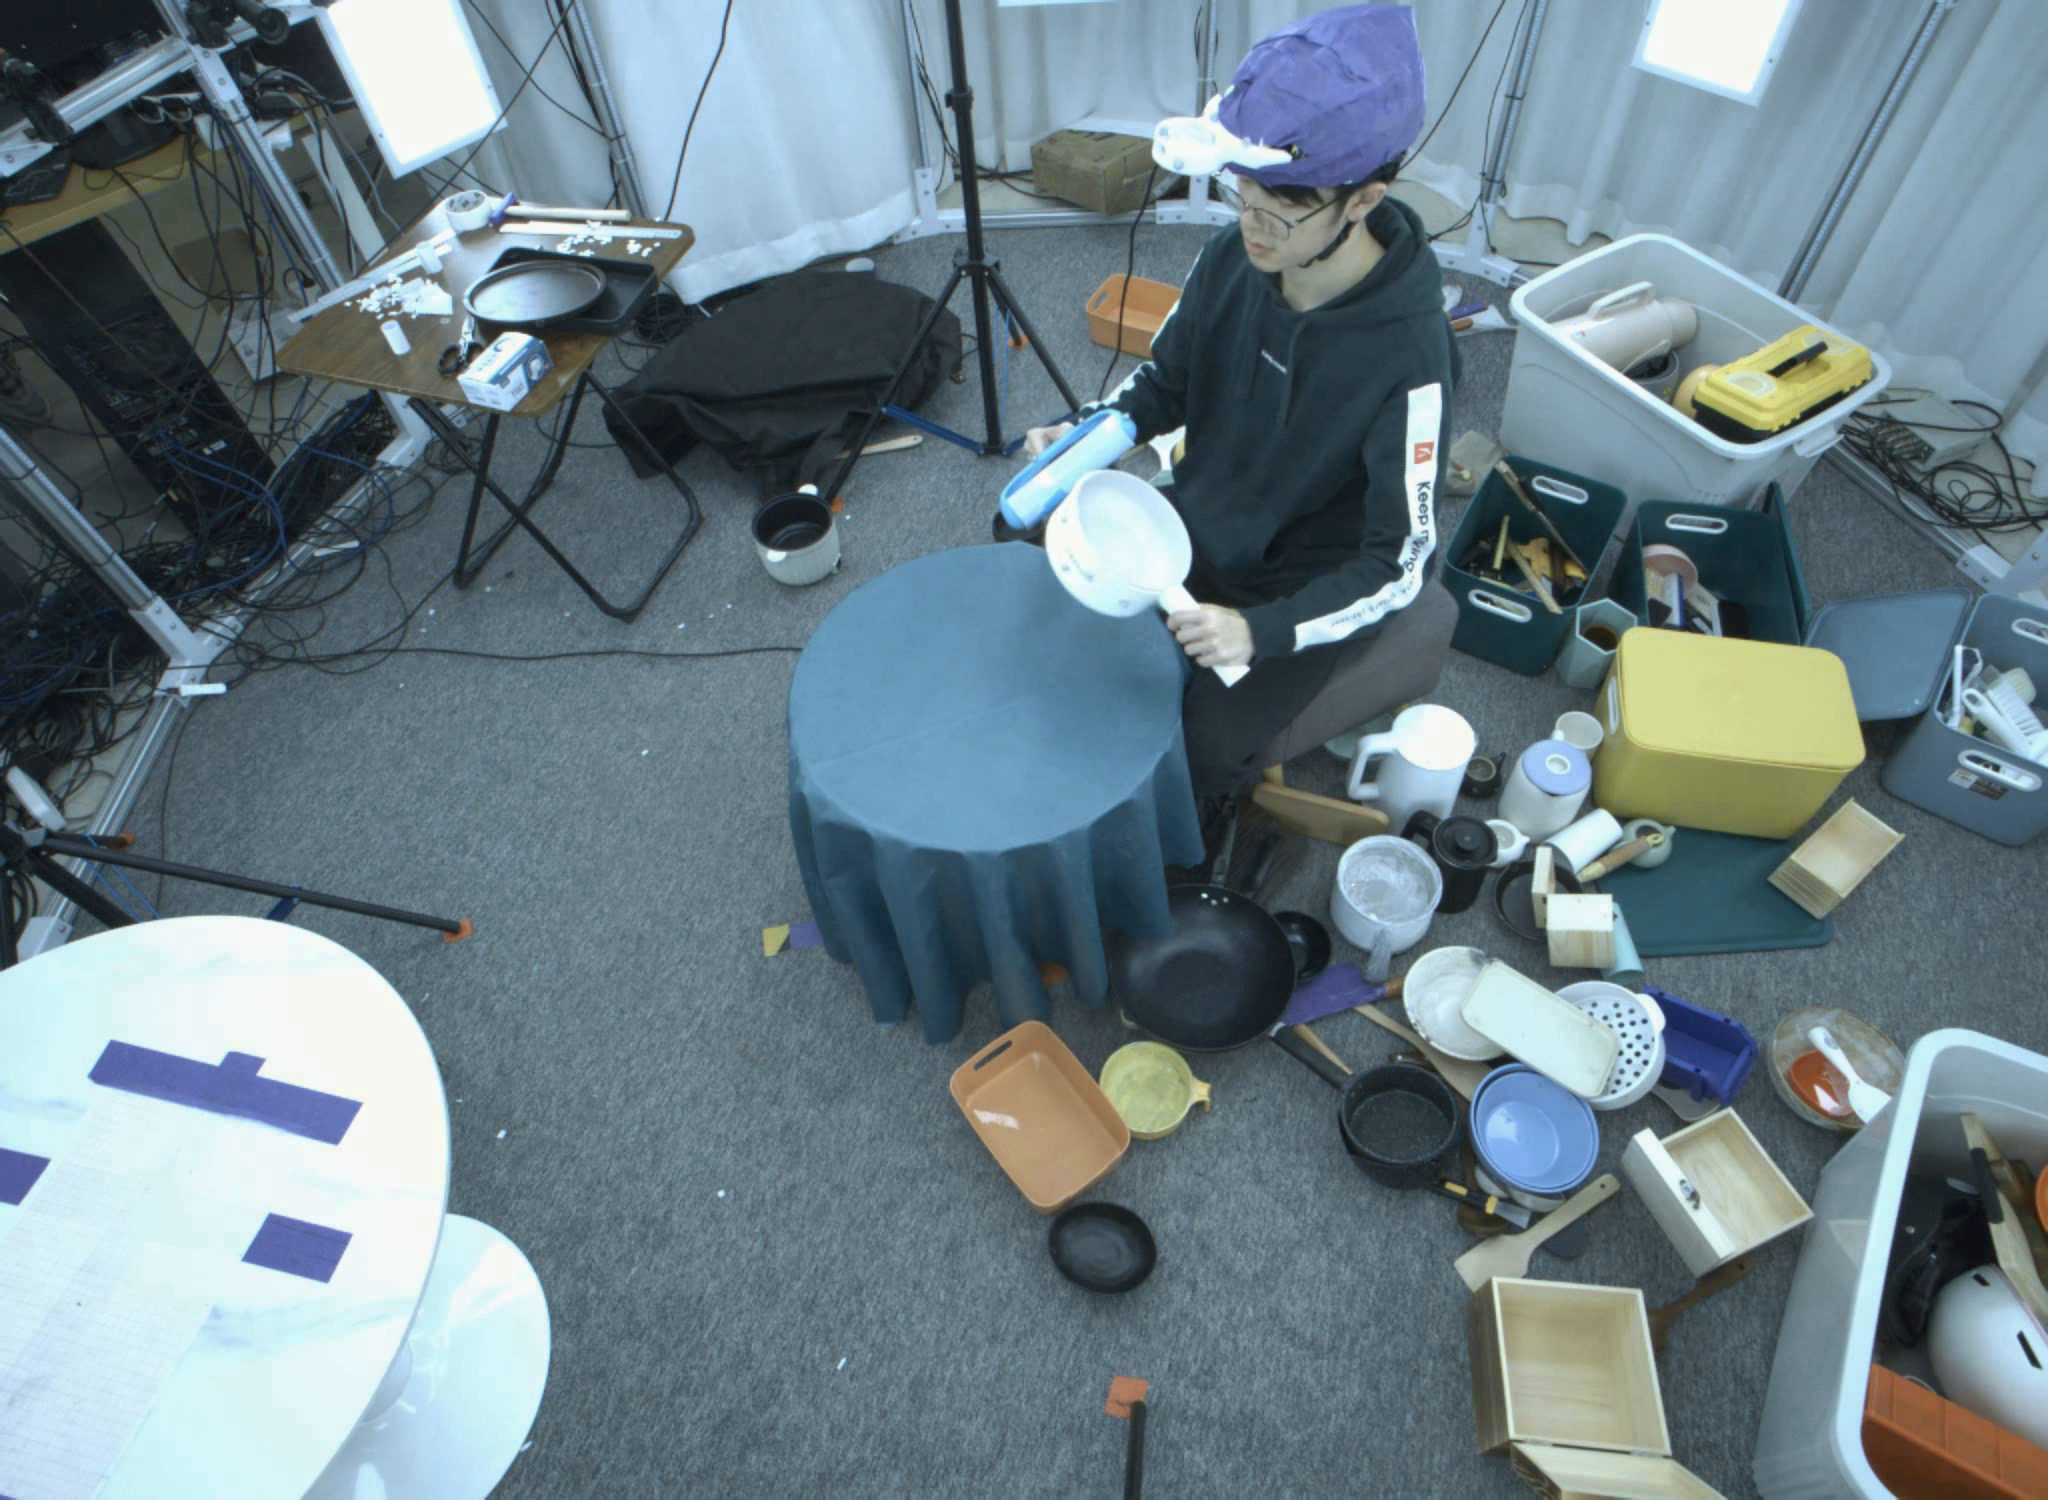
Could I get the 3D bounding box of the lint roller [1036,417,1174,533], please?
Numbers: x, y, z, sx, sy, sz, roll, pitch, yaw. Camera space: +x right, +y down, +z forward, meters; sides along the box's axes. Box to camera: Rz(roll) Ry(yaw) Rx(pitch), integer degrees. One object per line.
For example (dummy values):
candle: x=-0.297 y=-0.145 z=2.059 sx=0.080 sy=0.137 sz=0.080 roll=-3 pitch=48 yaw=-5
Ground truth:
lint roller: x=0.105 y=-0.413 z=1.789 sx=0.228 sy=0.069 sz=0.177 roll=-39 pitch=26 yaw=7

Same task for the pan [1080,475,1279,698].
pan: x=0.219 y=-0.215 z=1.726 sx=0.203 sy=0.101 sz=0.355 roll=-36 pitch=90 yaw=-41
